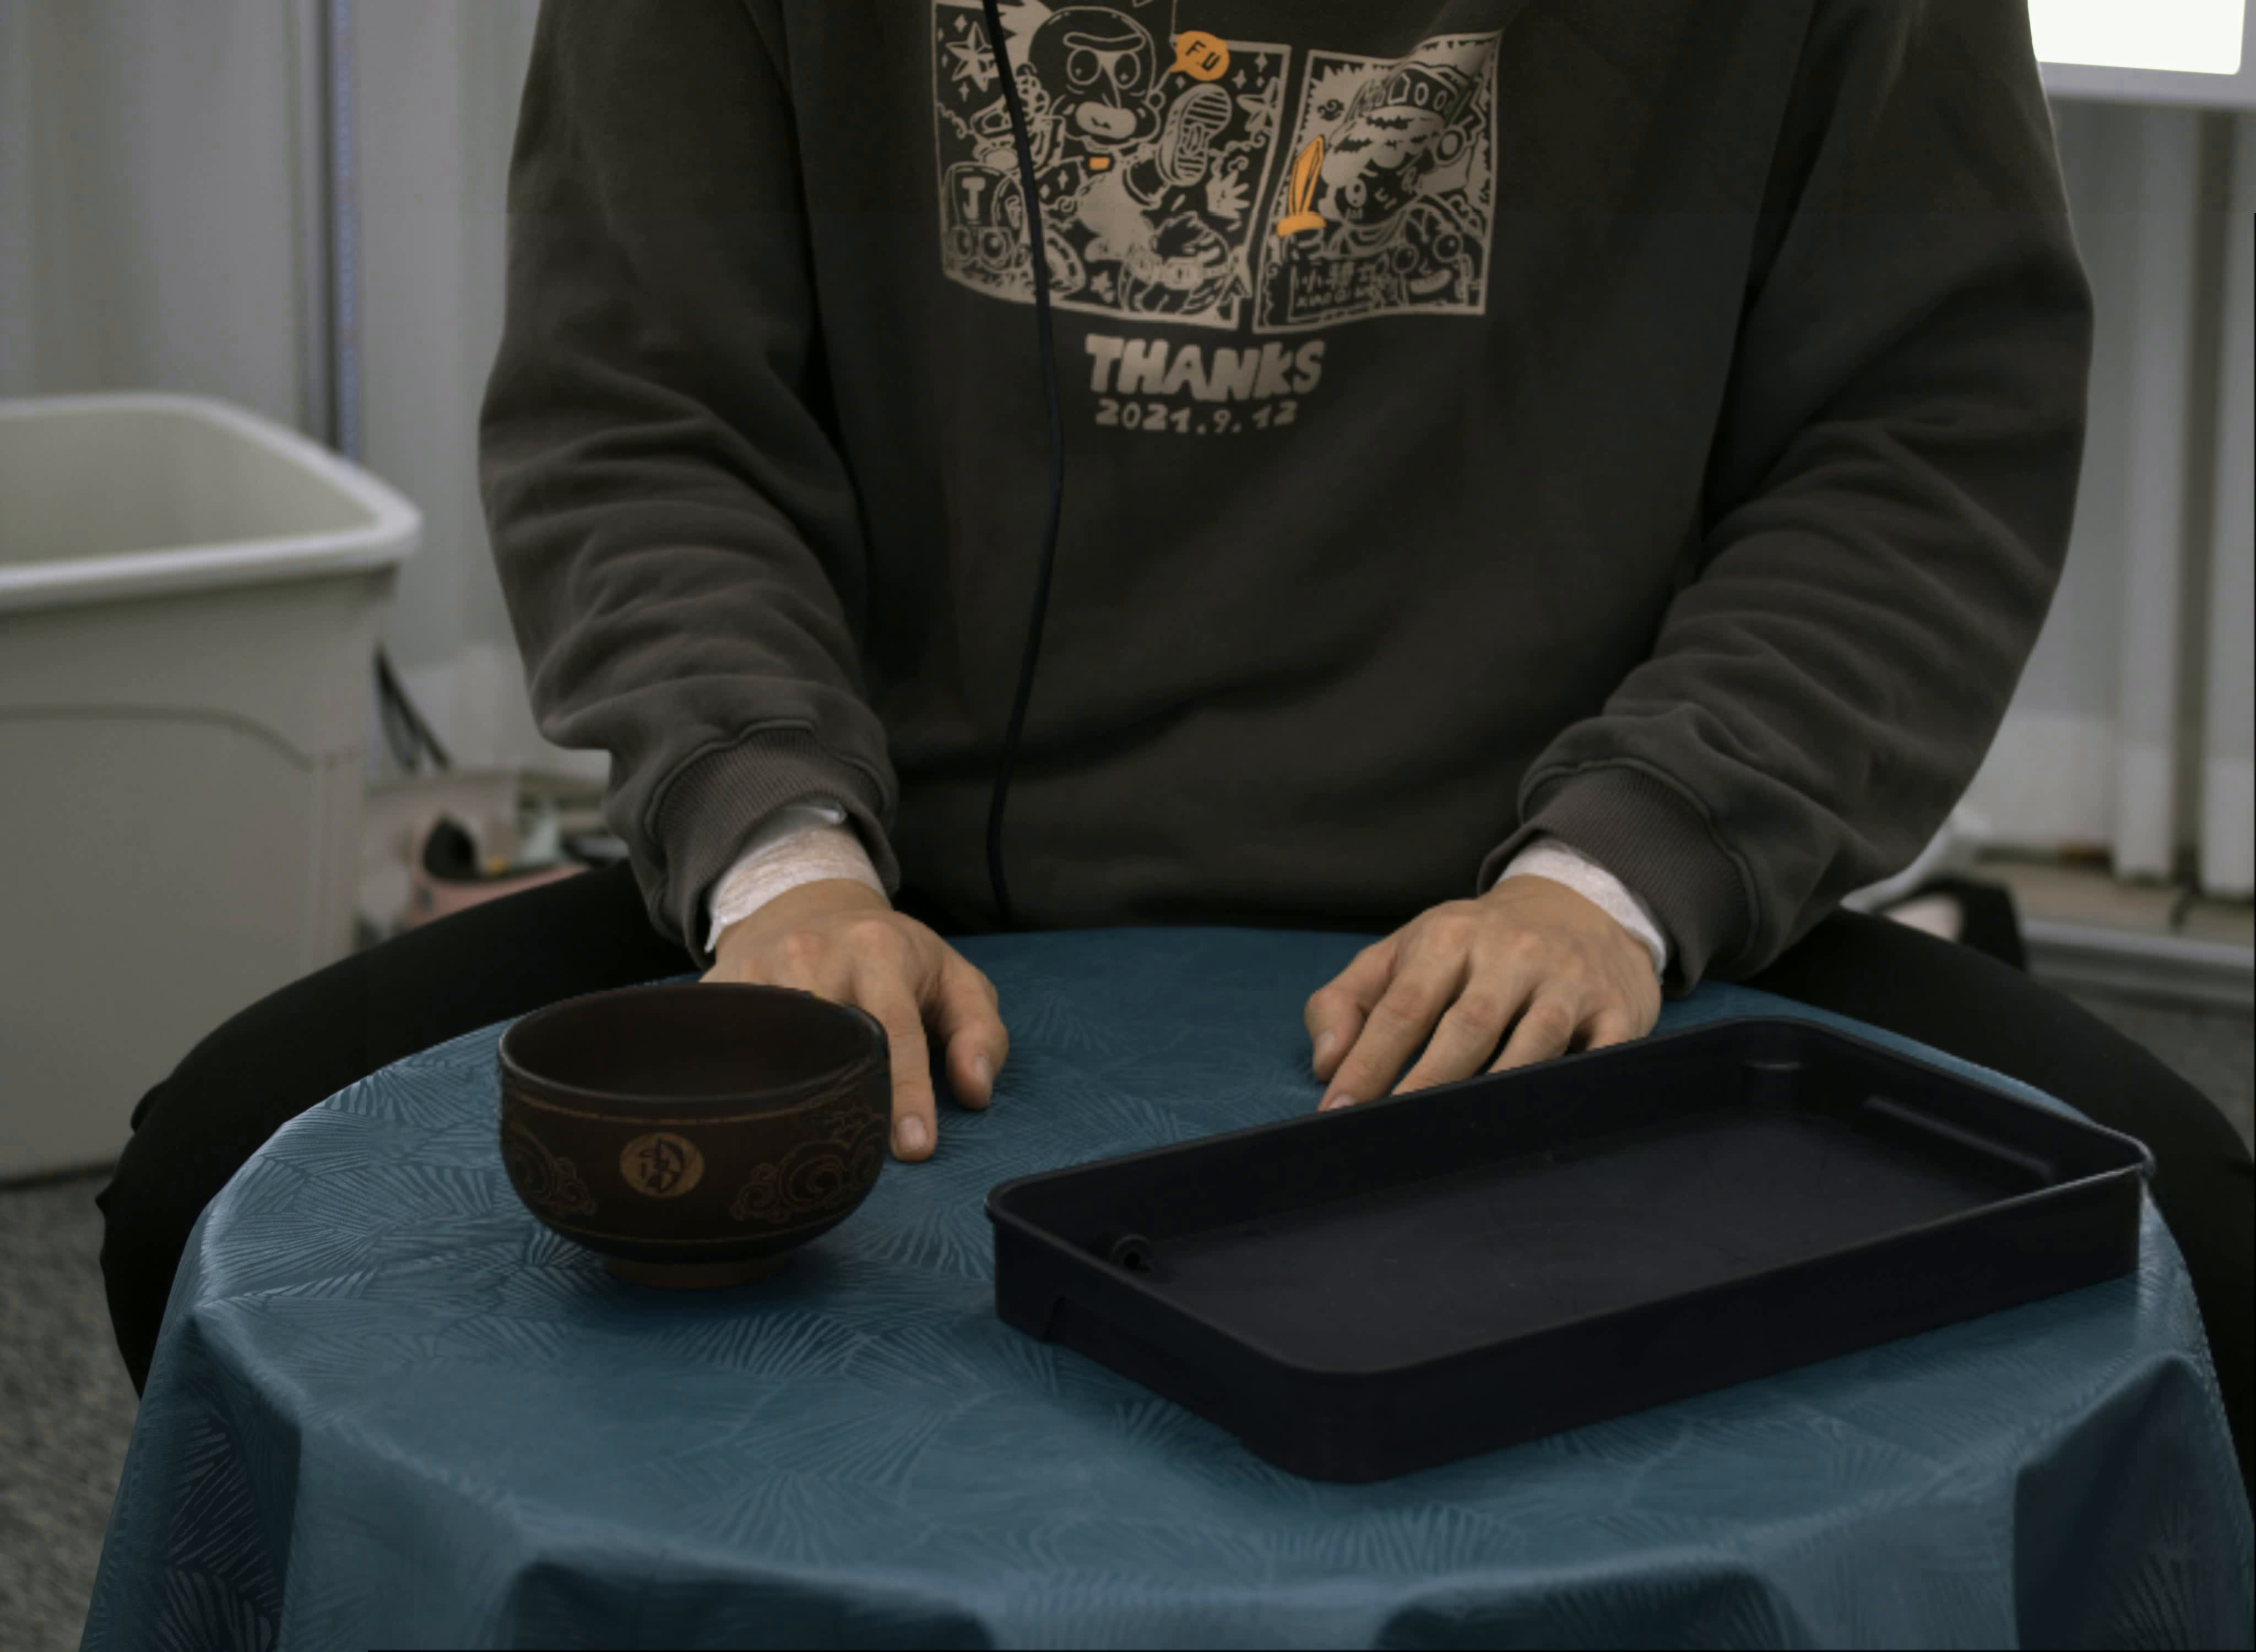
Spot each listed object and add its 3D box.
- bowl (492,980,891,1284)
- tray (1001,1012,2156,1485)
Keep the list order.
[{"bbox_3d":[-0.129,0.094,1.559,0.117,0.070,0.117,0,14,1],"label":"bowl"},{"bbox_3d":[0.135,0.118,1.550,0.319,0.037,0.182,-11,19,-36],"label":"tray"}]
